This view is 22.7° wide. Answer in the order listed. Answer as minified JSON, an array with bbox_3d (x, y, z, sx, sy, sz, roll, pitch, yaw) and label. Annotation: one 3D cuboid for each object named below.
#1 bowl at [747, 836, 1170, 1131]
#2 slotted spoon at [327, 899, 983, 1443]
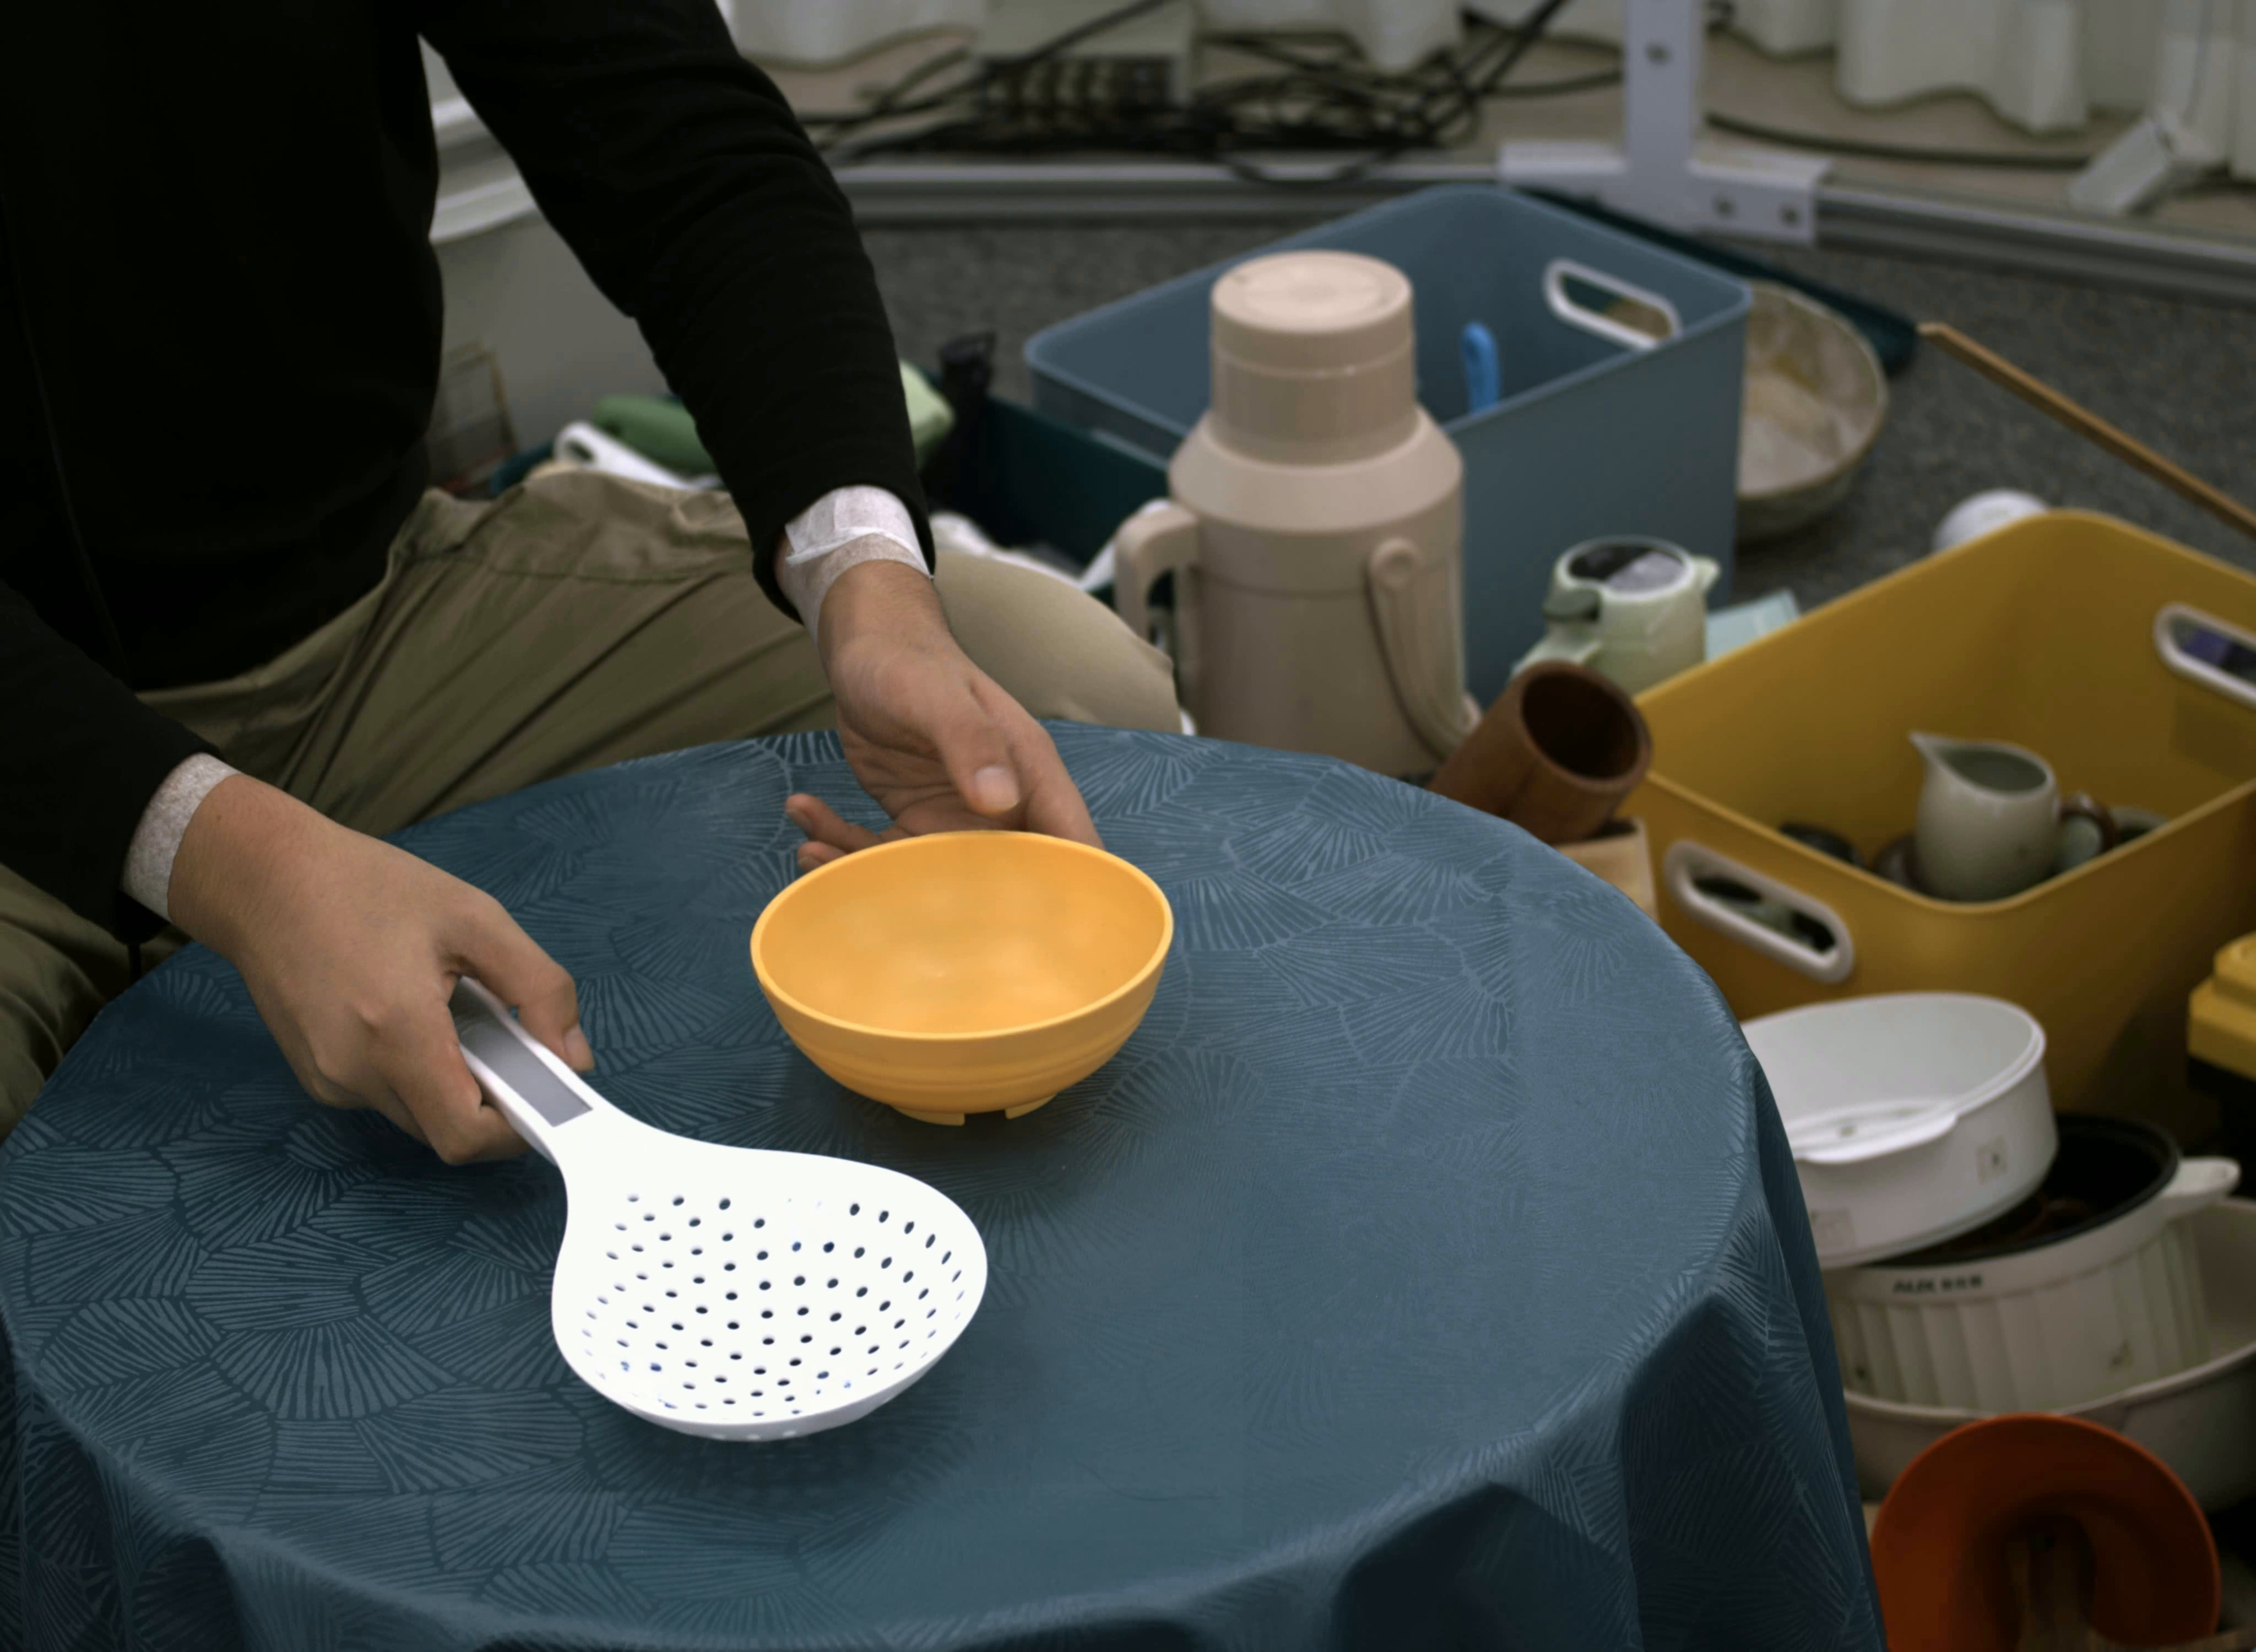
[{"bbox_3d":[-0.057,0.062,1.921,0.144,0.059,0.147,-1,27,1],"label":"bowl"},{"bbox_3d":[-0.172,0.105,1.826,0.137,0.045,0.351,-24,41,-26],"label":"slotted spoon"}]
